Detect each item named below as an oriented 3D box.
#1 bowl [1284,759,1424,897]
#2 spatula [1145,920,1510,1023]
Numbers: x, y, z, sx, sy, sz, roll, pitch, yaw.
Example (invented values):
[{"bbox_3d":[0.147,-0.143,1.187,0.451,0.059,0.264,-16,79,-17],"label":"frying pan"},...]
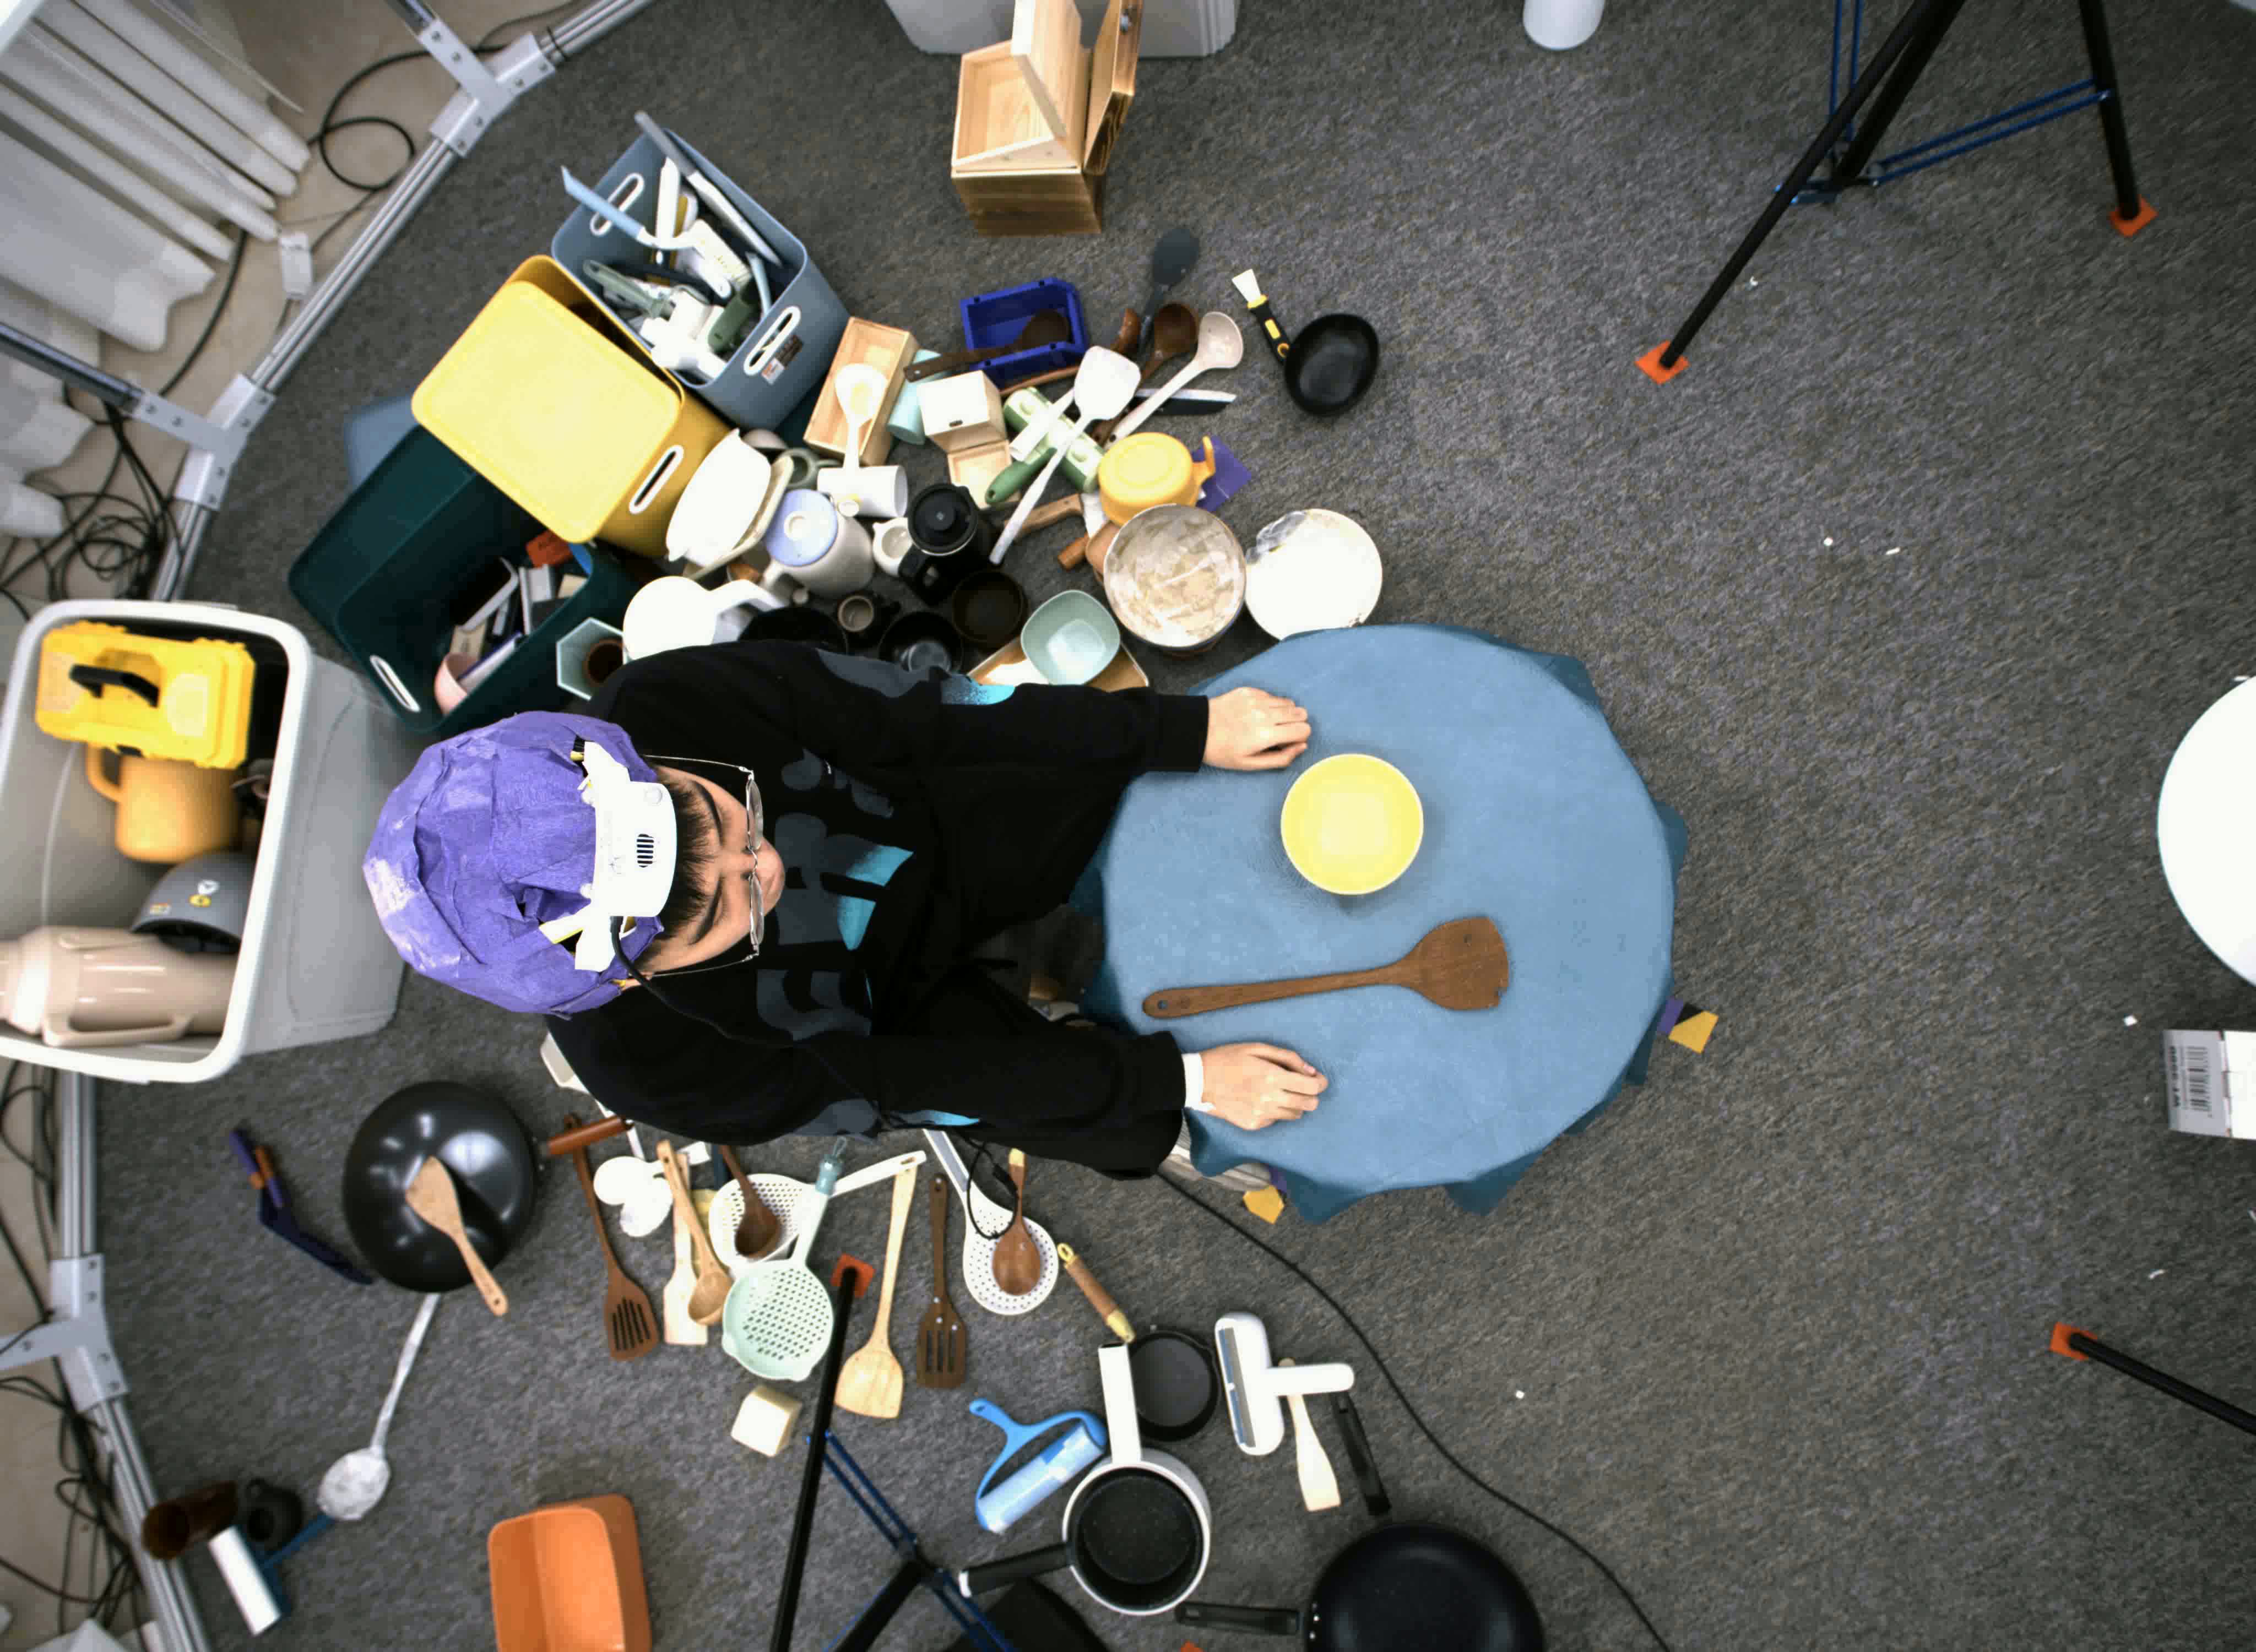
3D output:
[{"bbox_3d":[0.237,0.005,1.448,0.146,0.060,0.144,-2,83,11],"label":"bowl"},{"bbox_3d":[0.206,0.169,1.463,0.388,0.016,0.095,-9,84,10],"label":"spatula"}]
